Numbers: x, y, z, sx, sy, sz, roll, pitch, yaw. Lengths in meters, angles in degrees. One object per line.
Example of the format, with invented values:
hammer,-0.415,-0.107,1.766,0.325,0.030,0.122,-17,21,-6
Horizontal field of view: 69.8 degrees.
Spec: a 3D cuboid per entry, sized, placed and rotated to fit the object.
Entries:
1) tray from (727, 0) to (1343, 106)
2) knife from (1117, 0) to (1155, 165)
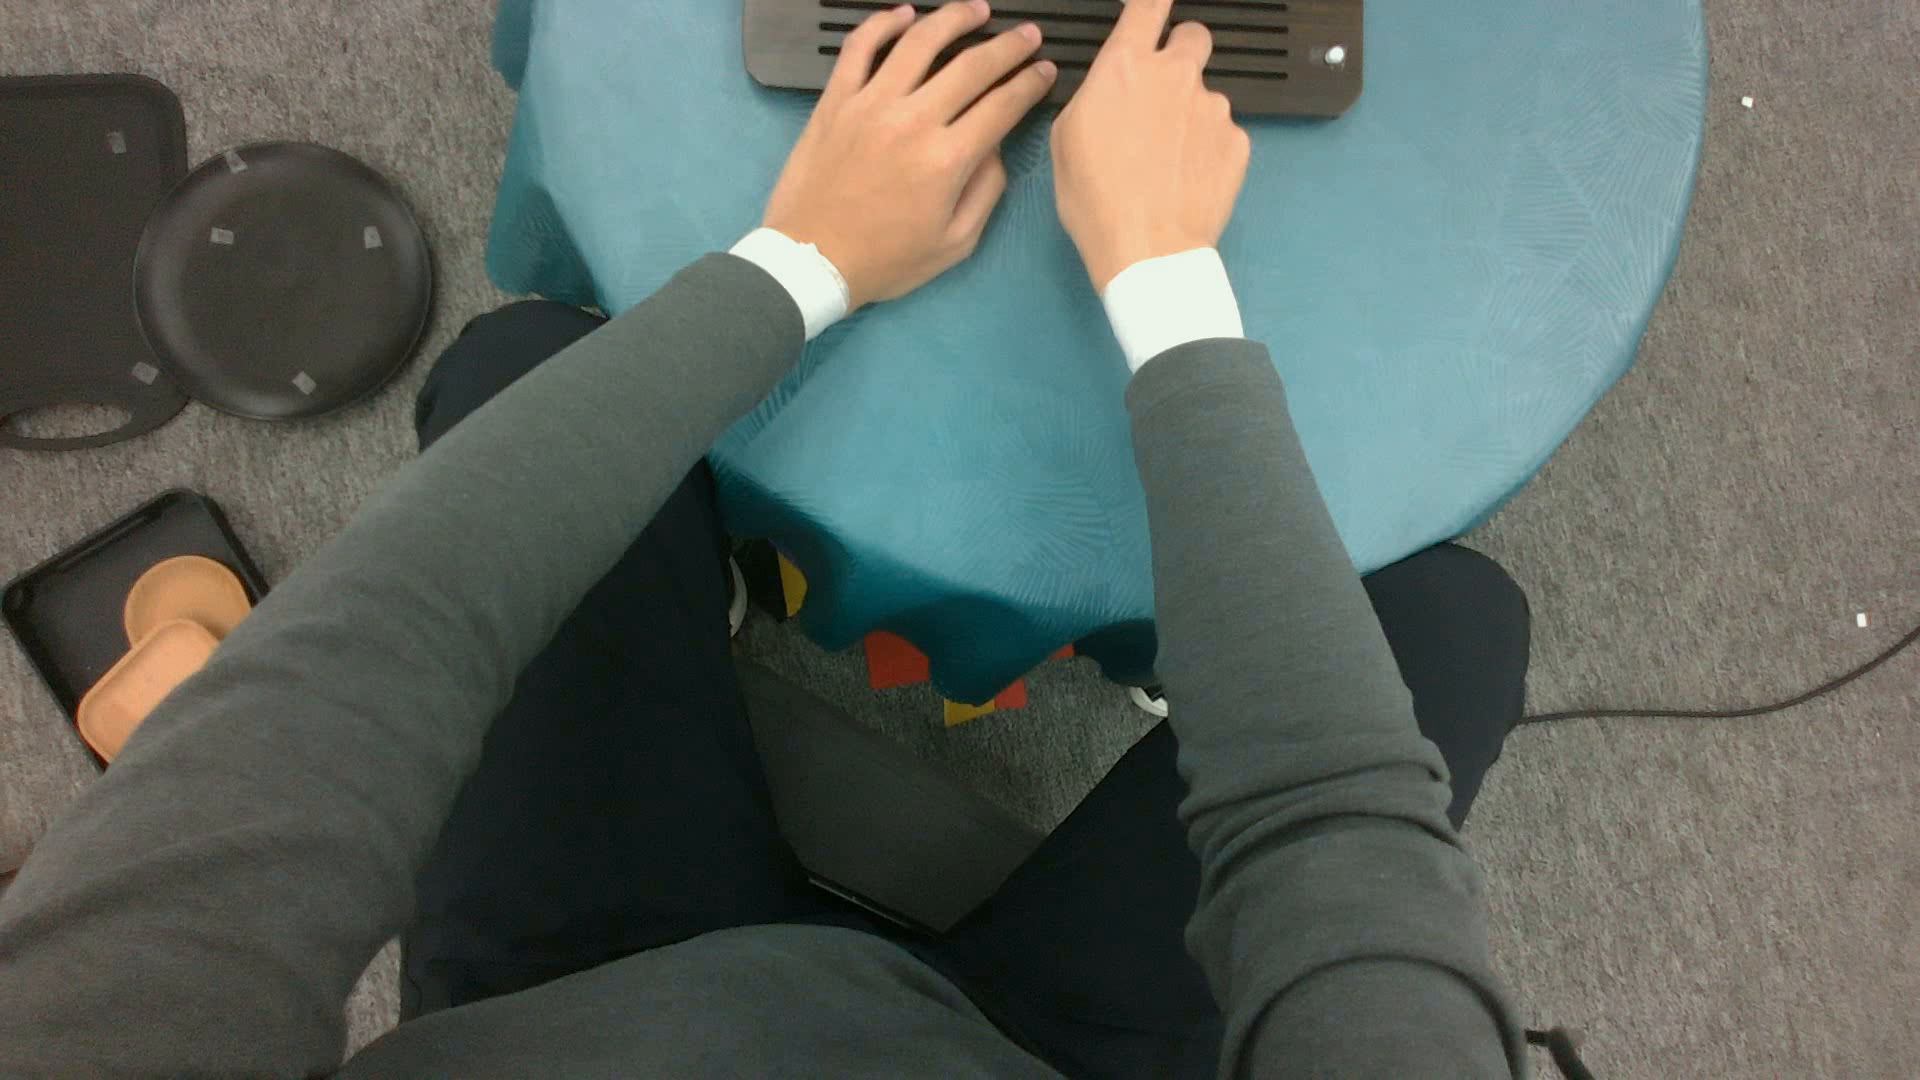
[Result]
tray,0.041,-0.306,0.686,0.306,0.018,0.170,1,86,-5
knife,0.084,-0.294,0.662,0.016,0.024,0.238,3,78,-7
